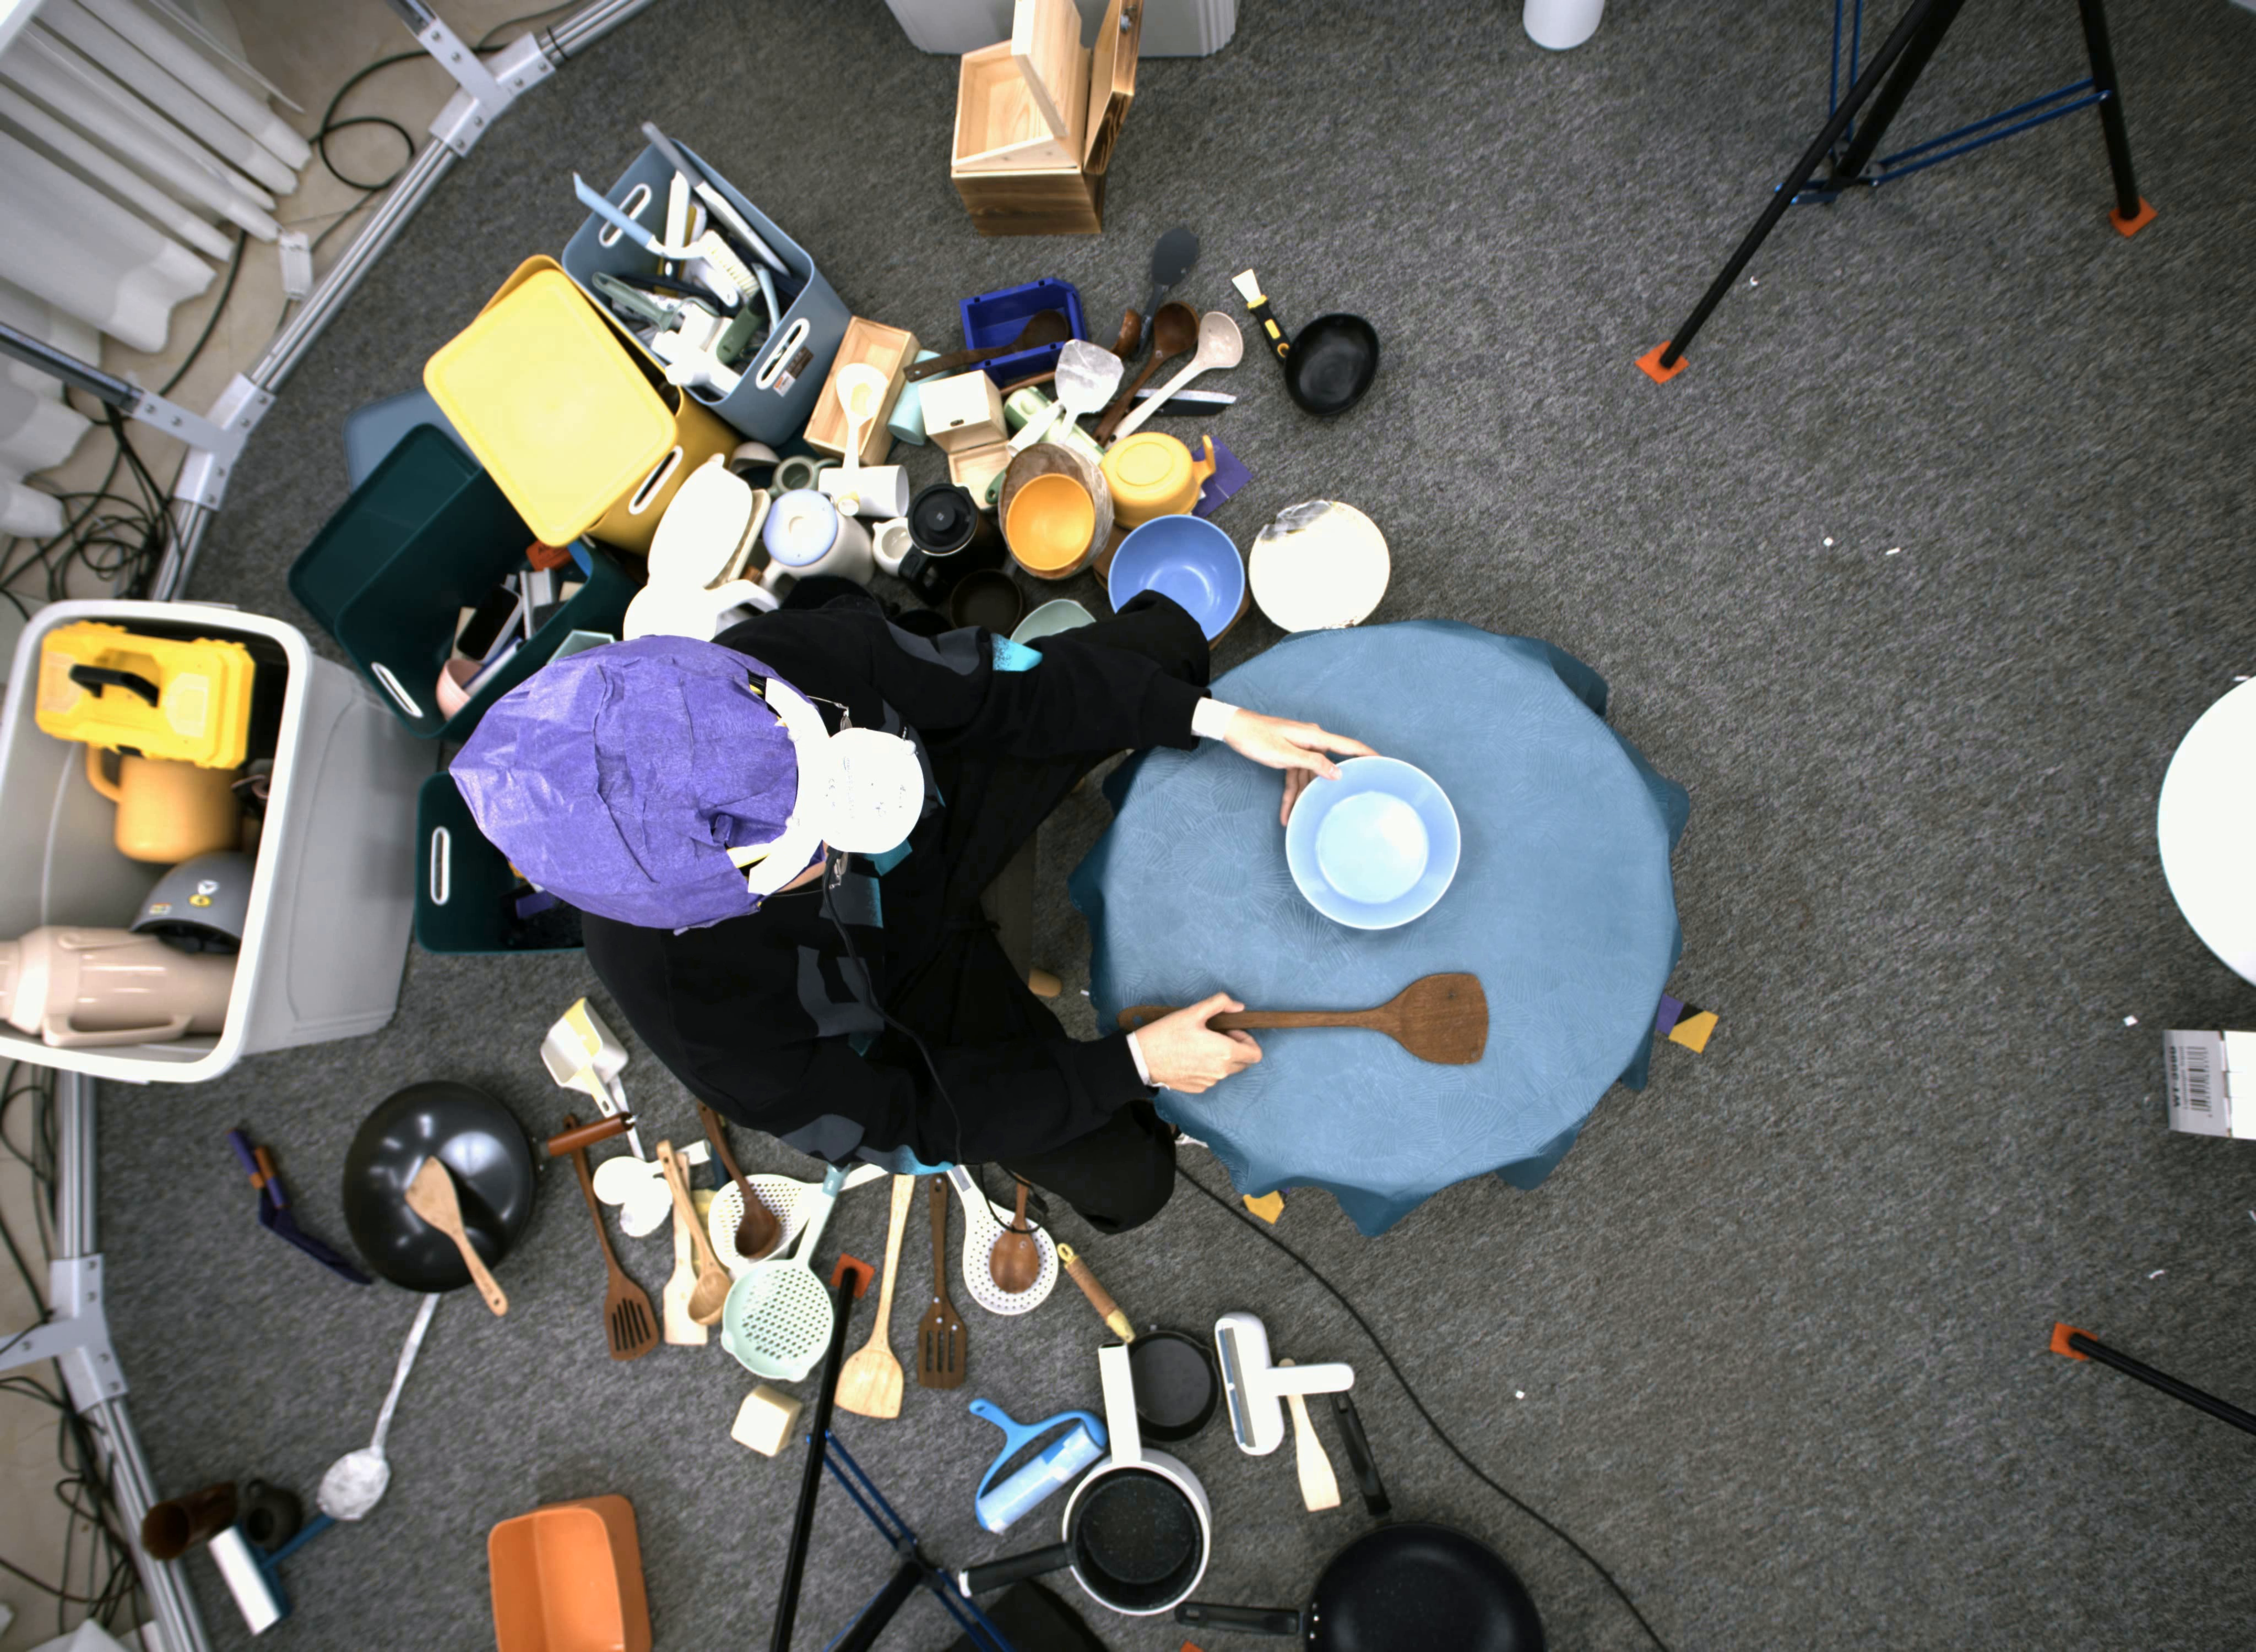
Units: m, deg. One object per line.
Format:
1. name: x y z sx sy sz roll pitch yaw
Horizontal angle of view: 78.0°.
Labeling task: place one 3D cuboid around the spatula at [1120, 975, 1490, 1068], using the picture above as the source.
1. spatula: 0.184 0.204 1.450 0.387 0.016 0.095 -1 85 4

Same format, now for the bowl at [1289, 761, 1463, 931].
1. bowl: 0.258 0.023 1.435 0.177 0.070 0.175 -1 85 11
